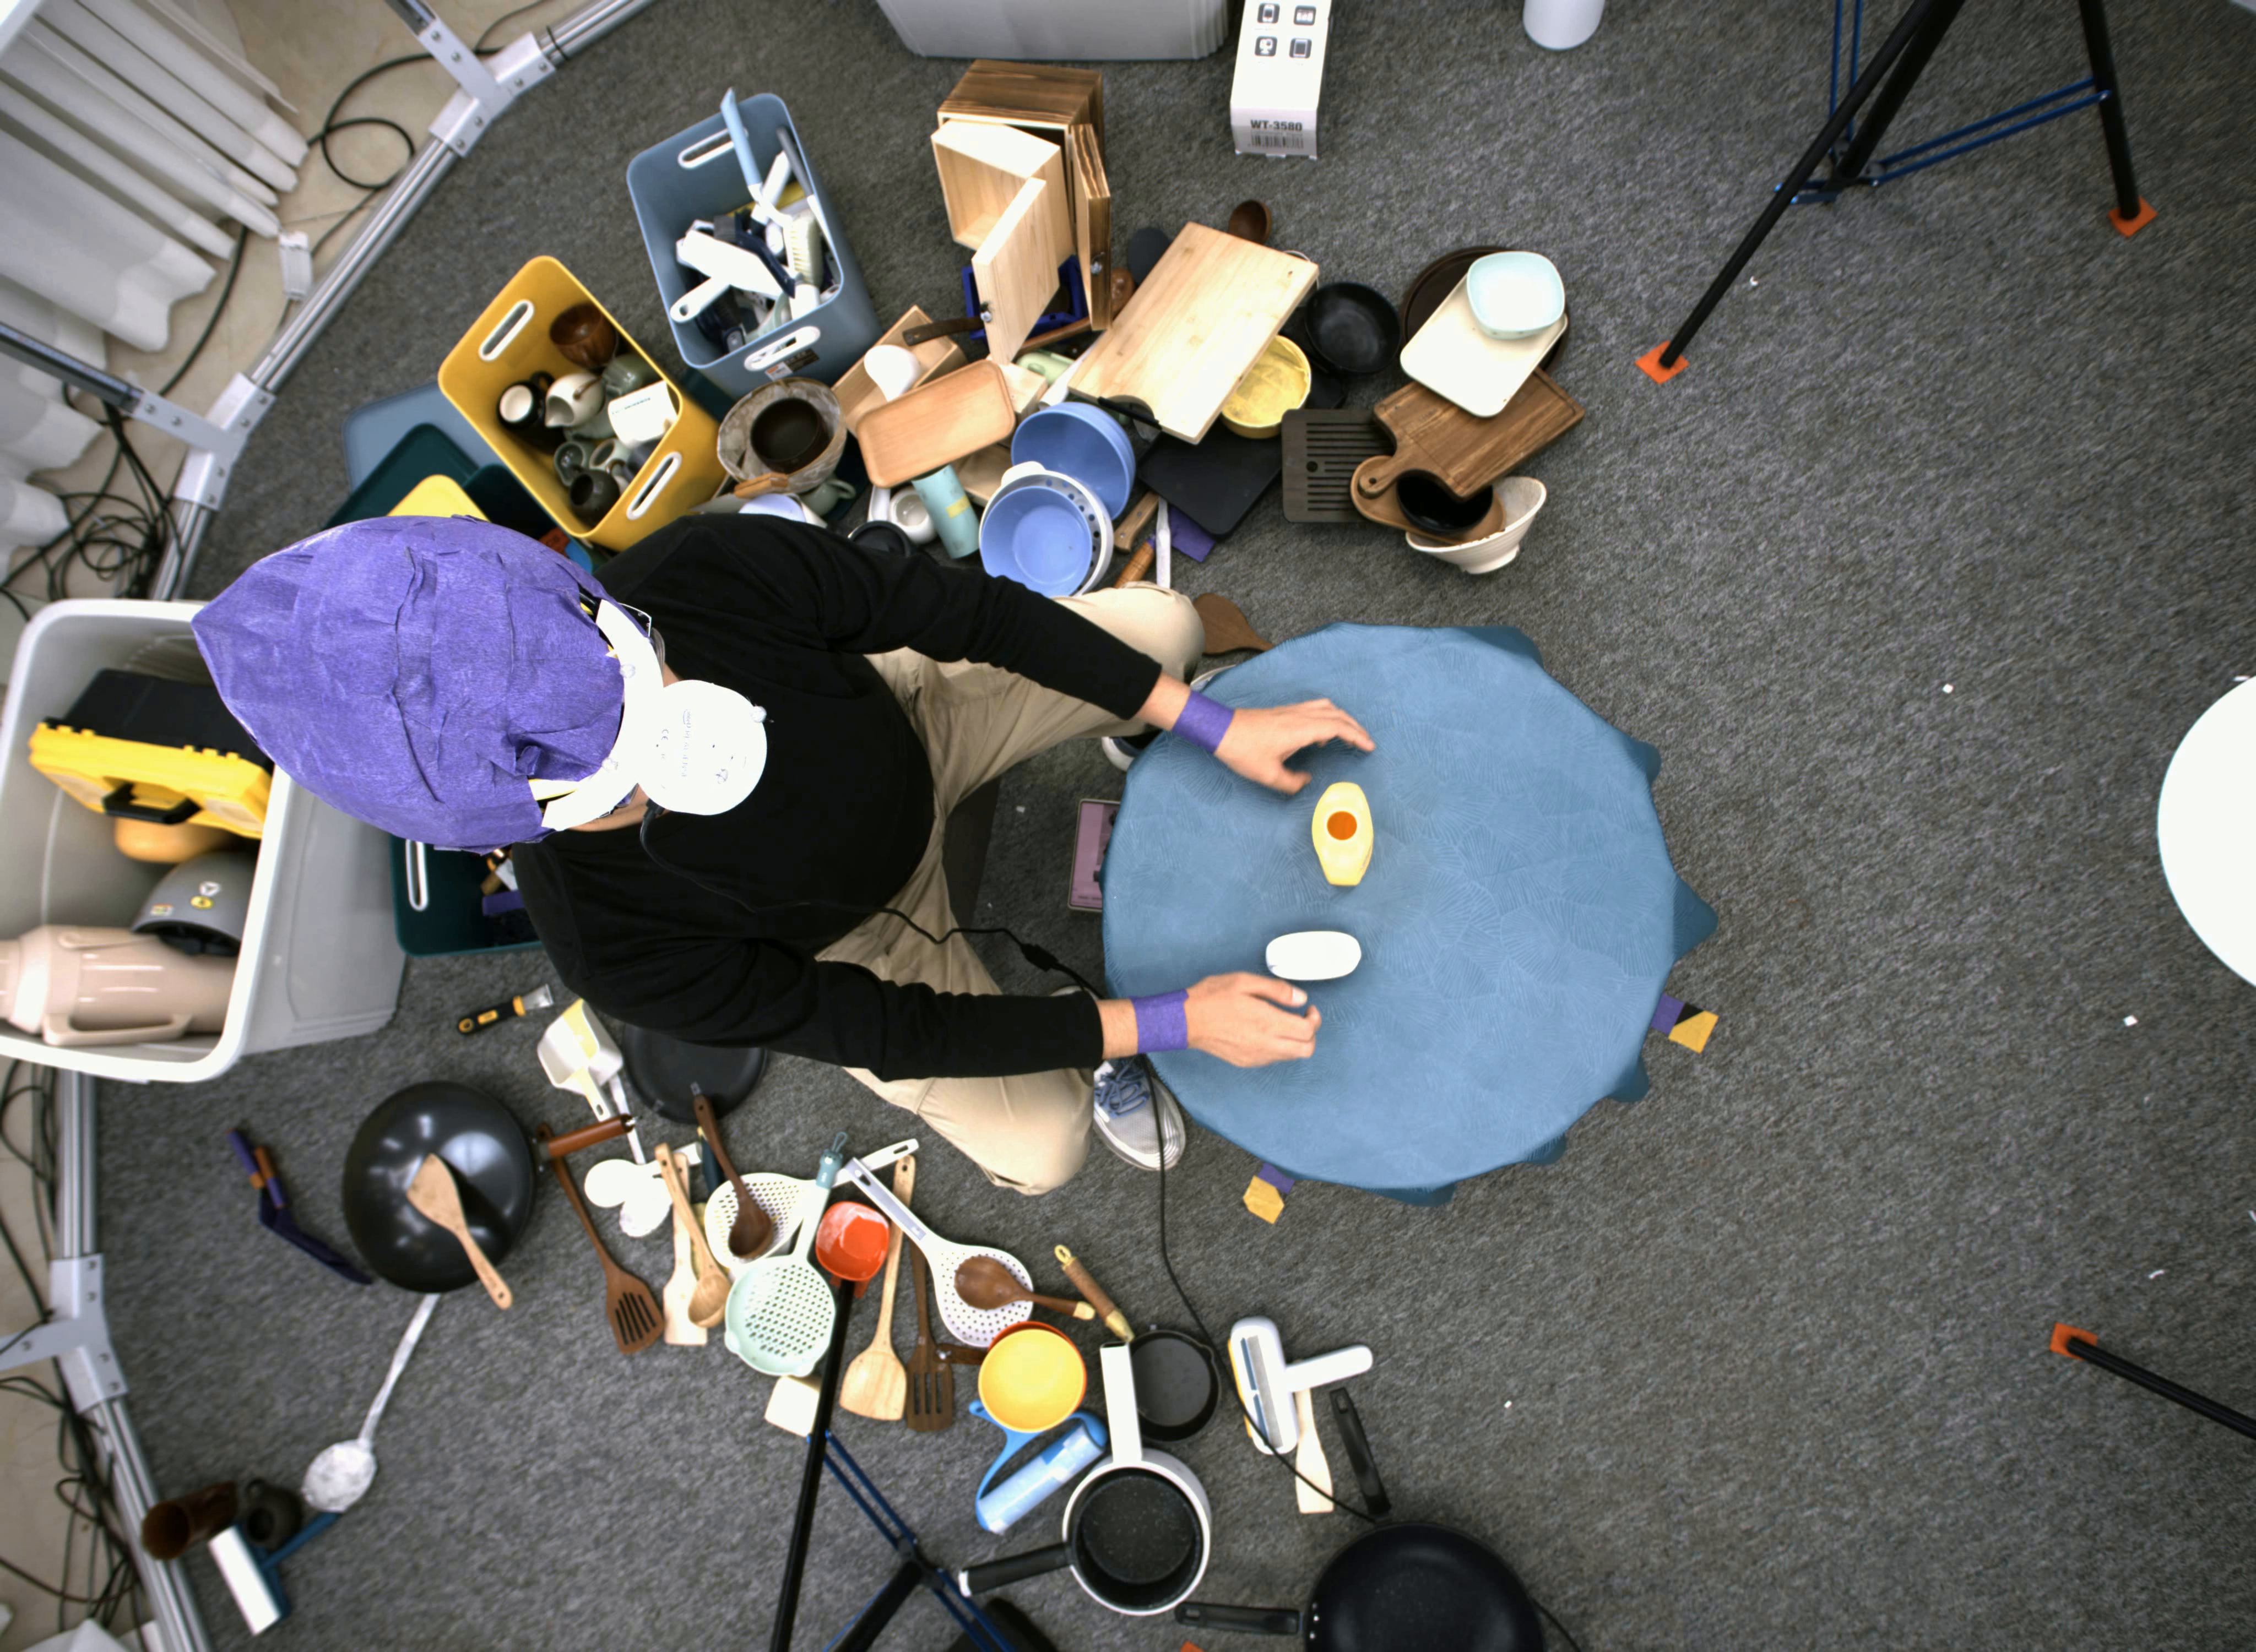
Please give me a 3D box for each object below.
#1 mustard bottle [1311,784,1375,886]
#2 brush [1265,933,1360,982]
[{"bbox_3d":[0.217,0.008,1.387,0.059,0.172,0.098,1,86,12],"label":"mustard bottle"},{"bbox_3d":[0.191,0.135,1.432,0.099,0.073,0.050,-2,83,9],"label":"brush"}]
